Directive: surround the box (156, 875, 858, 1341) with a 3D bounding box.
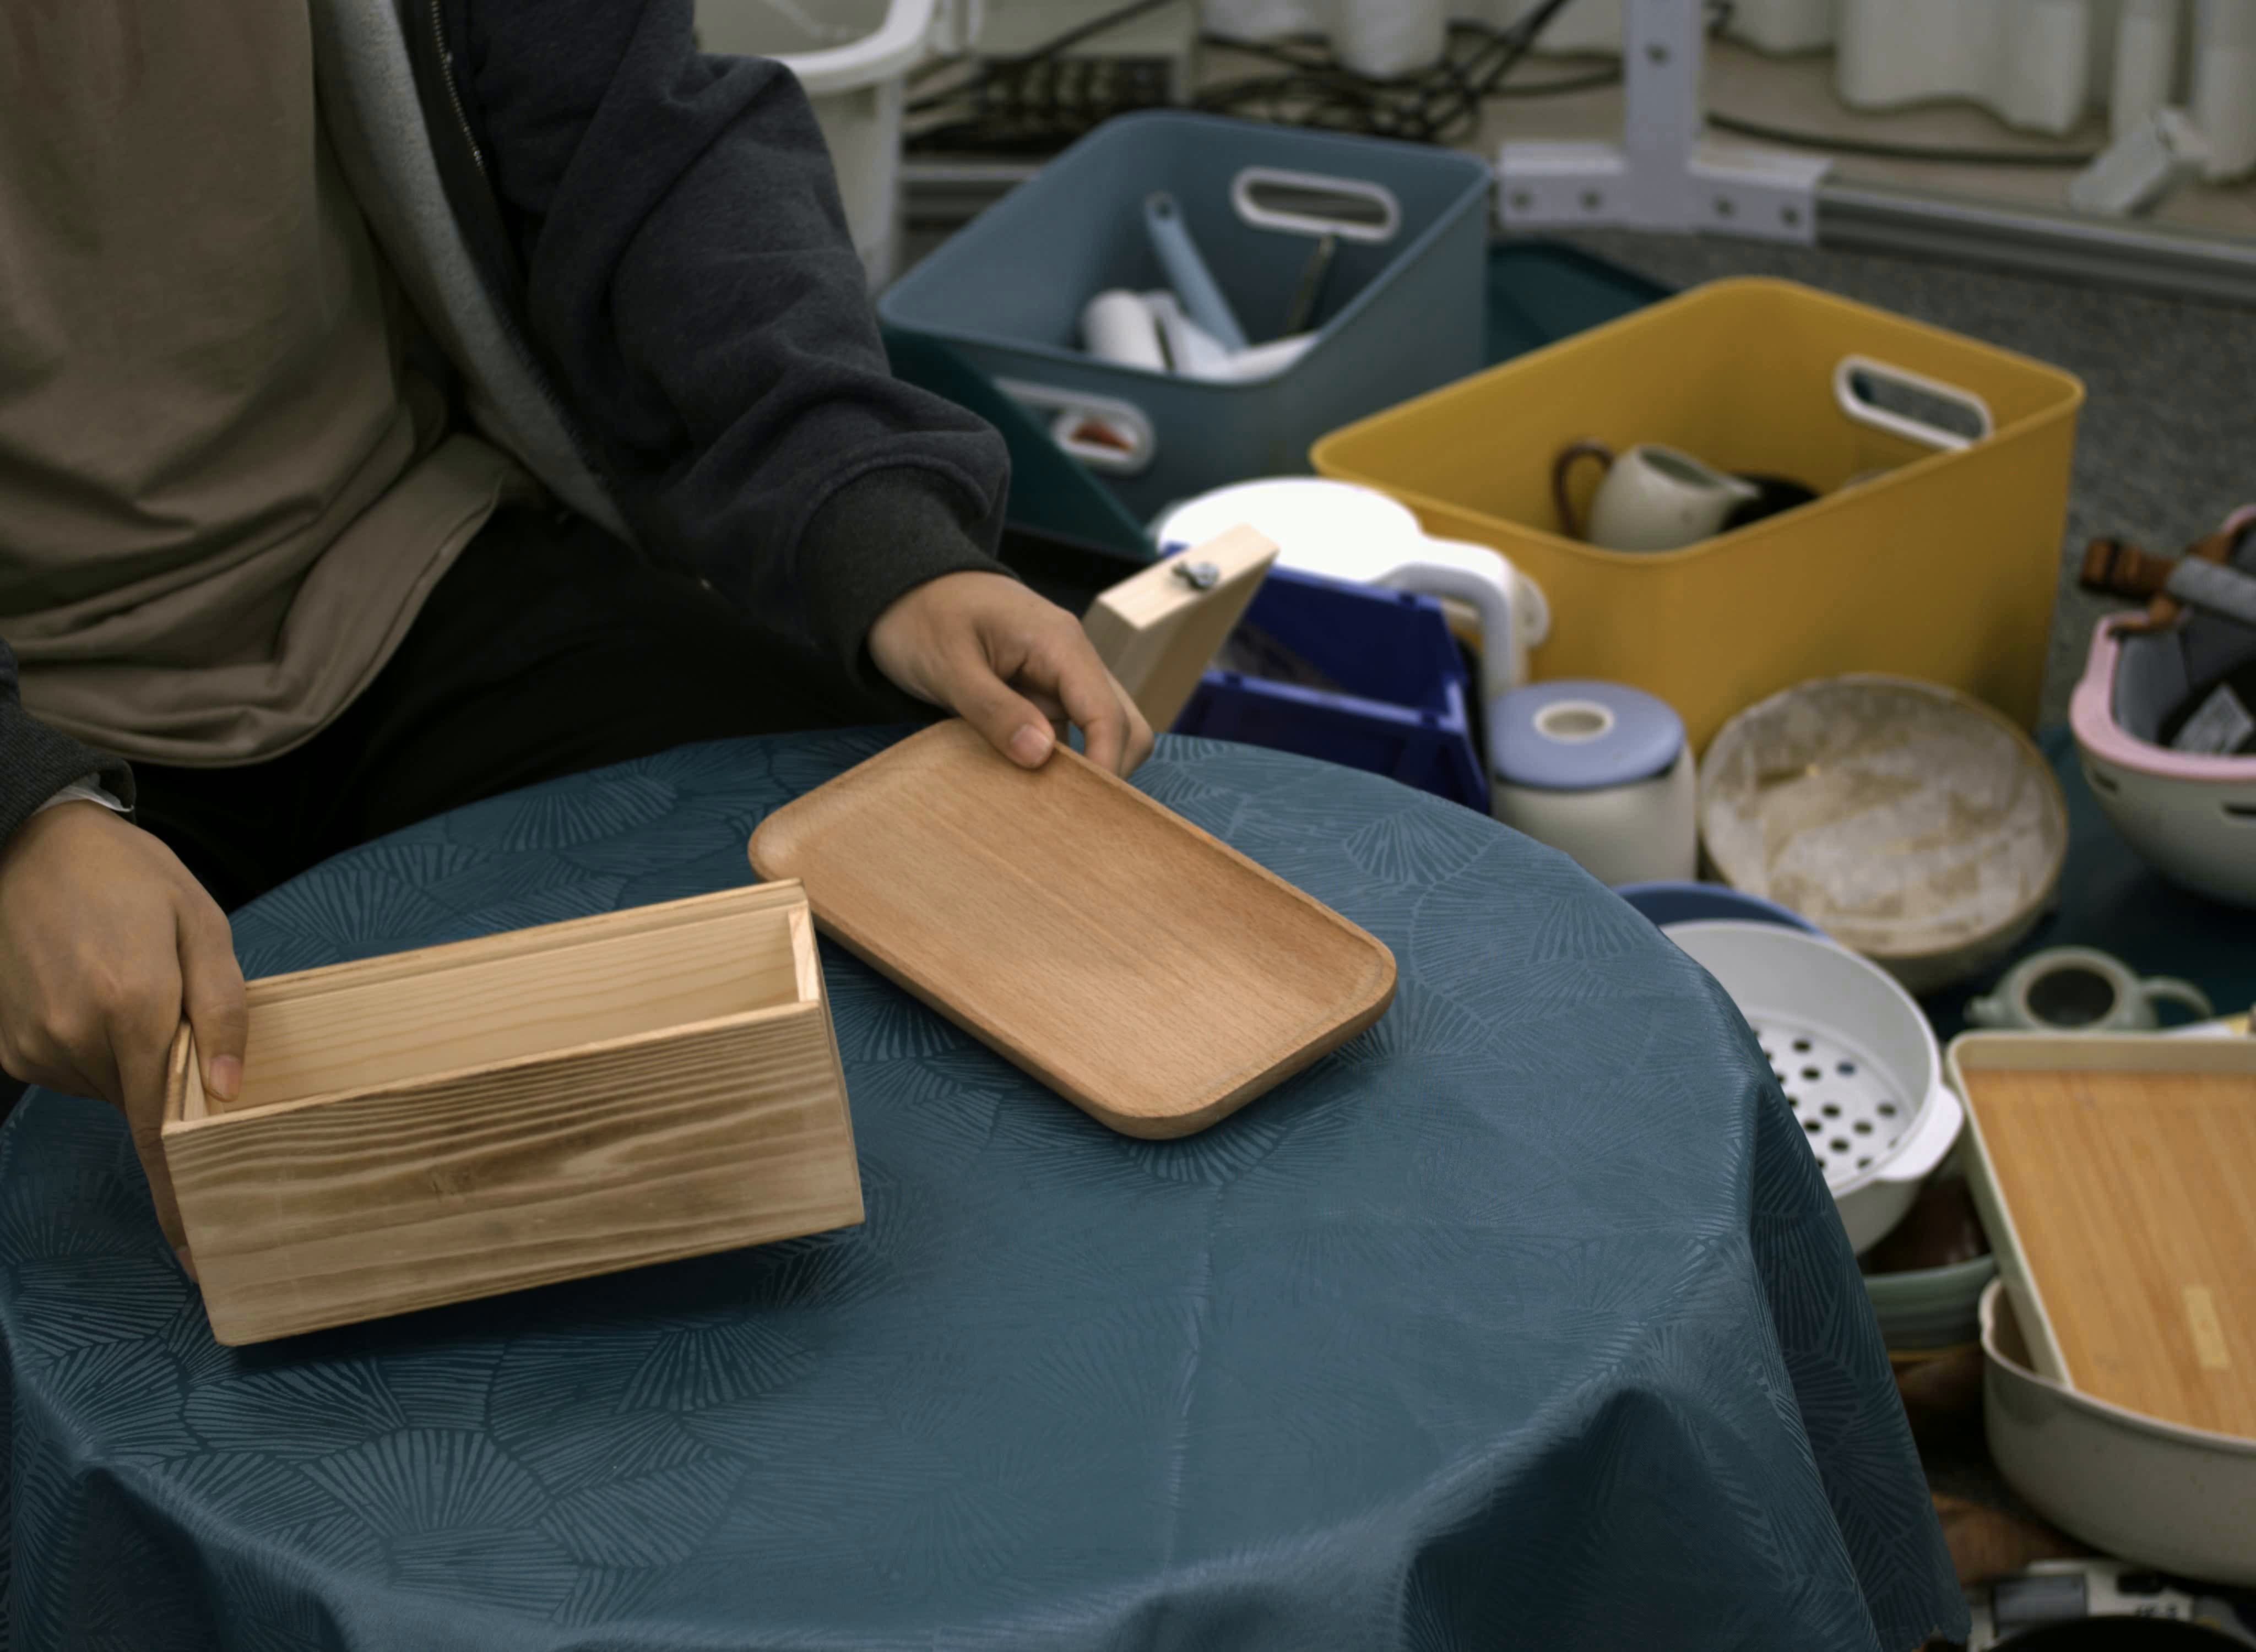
[{"bbox_3d":[-0.200,0.090,1.818,0.211,0.079,0.109,-11,23,-3],"label":"box"}]

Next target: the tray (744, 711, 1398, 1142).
[{"bbox_3d":[-0.023,0.033,1.986,0.132,0.022,0.251,-26,39,-30],"label":"tray"}]
